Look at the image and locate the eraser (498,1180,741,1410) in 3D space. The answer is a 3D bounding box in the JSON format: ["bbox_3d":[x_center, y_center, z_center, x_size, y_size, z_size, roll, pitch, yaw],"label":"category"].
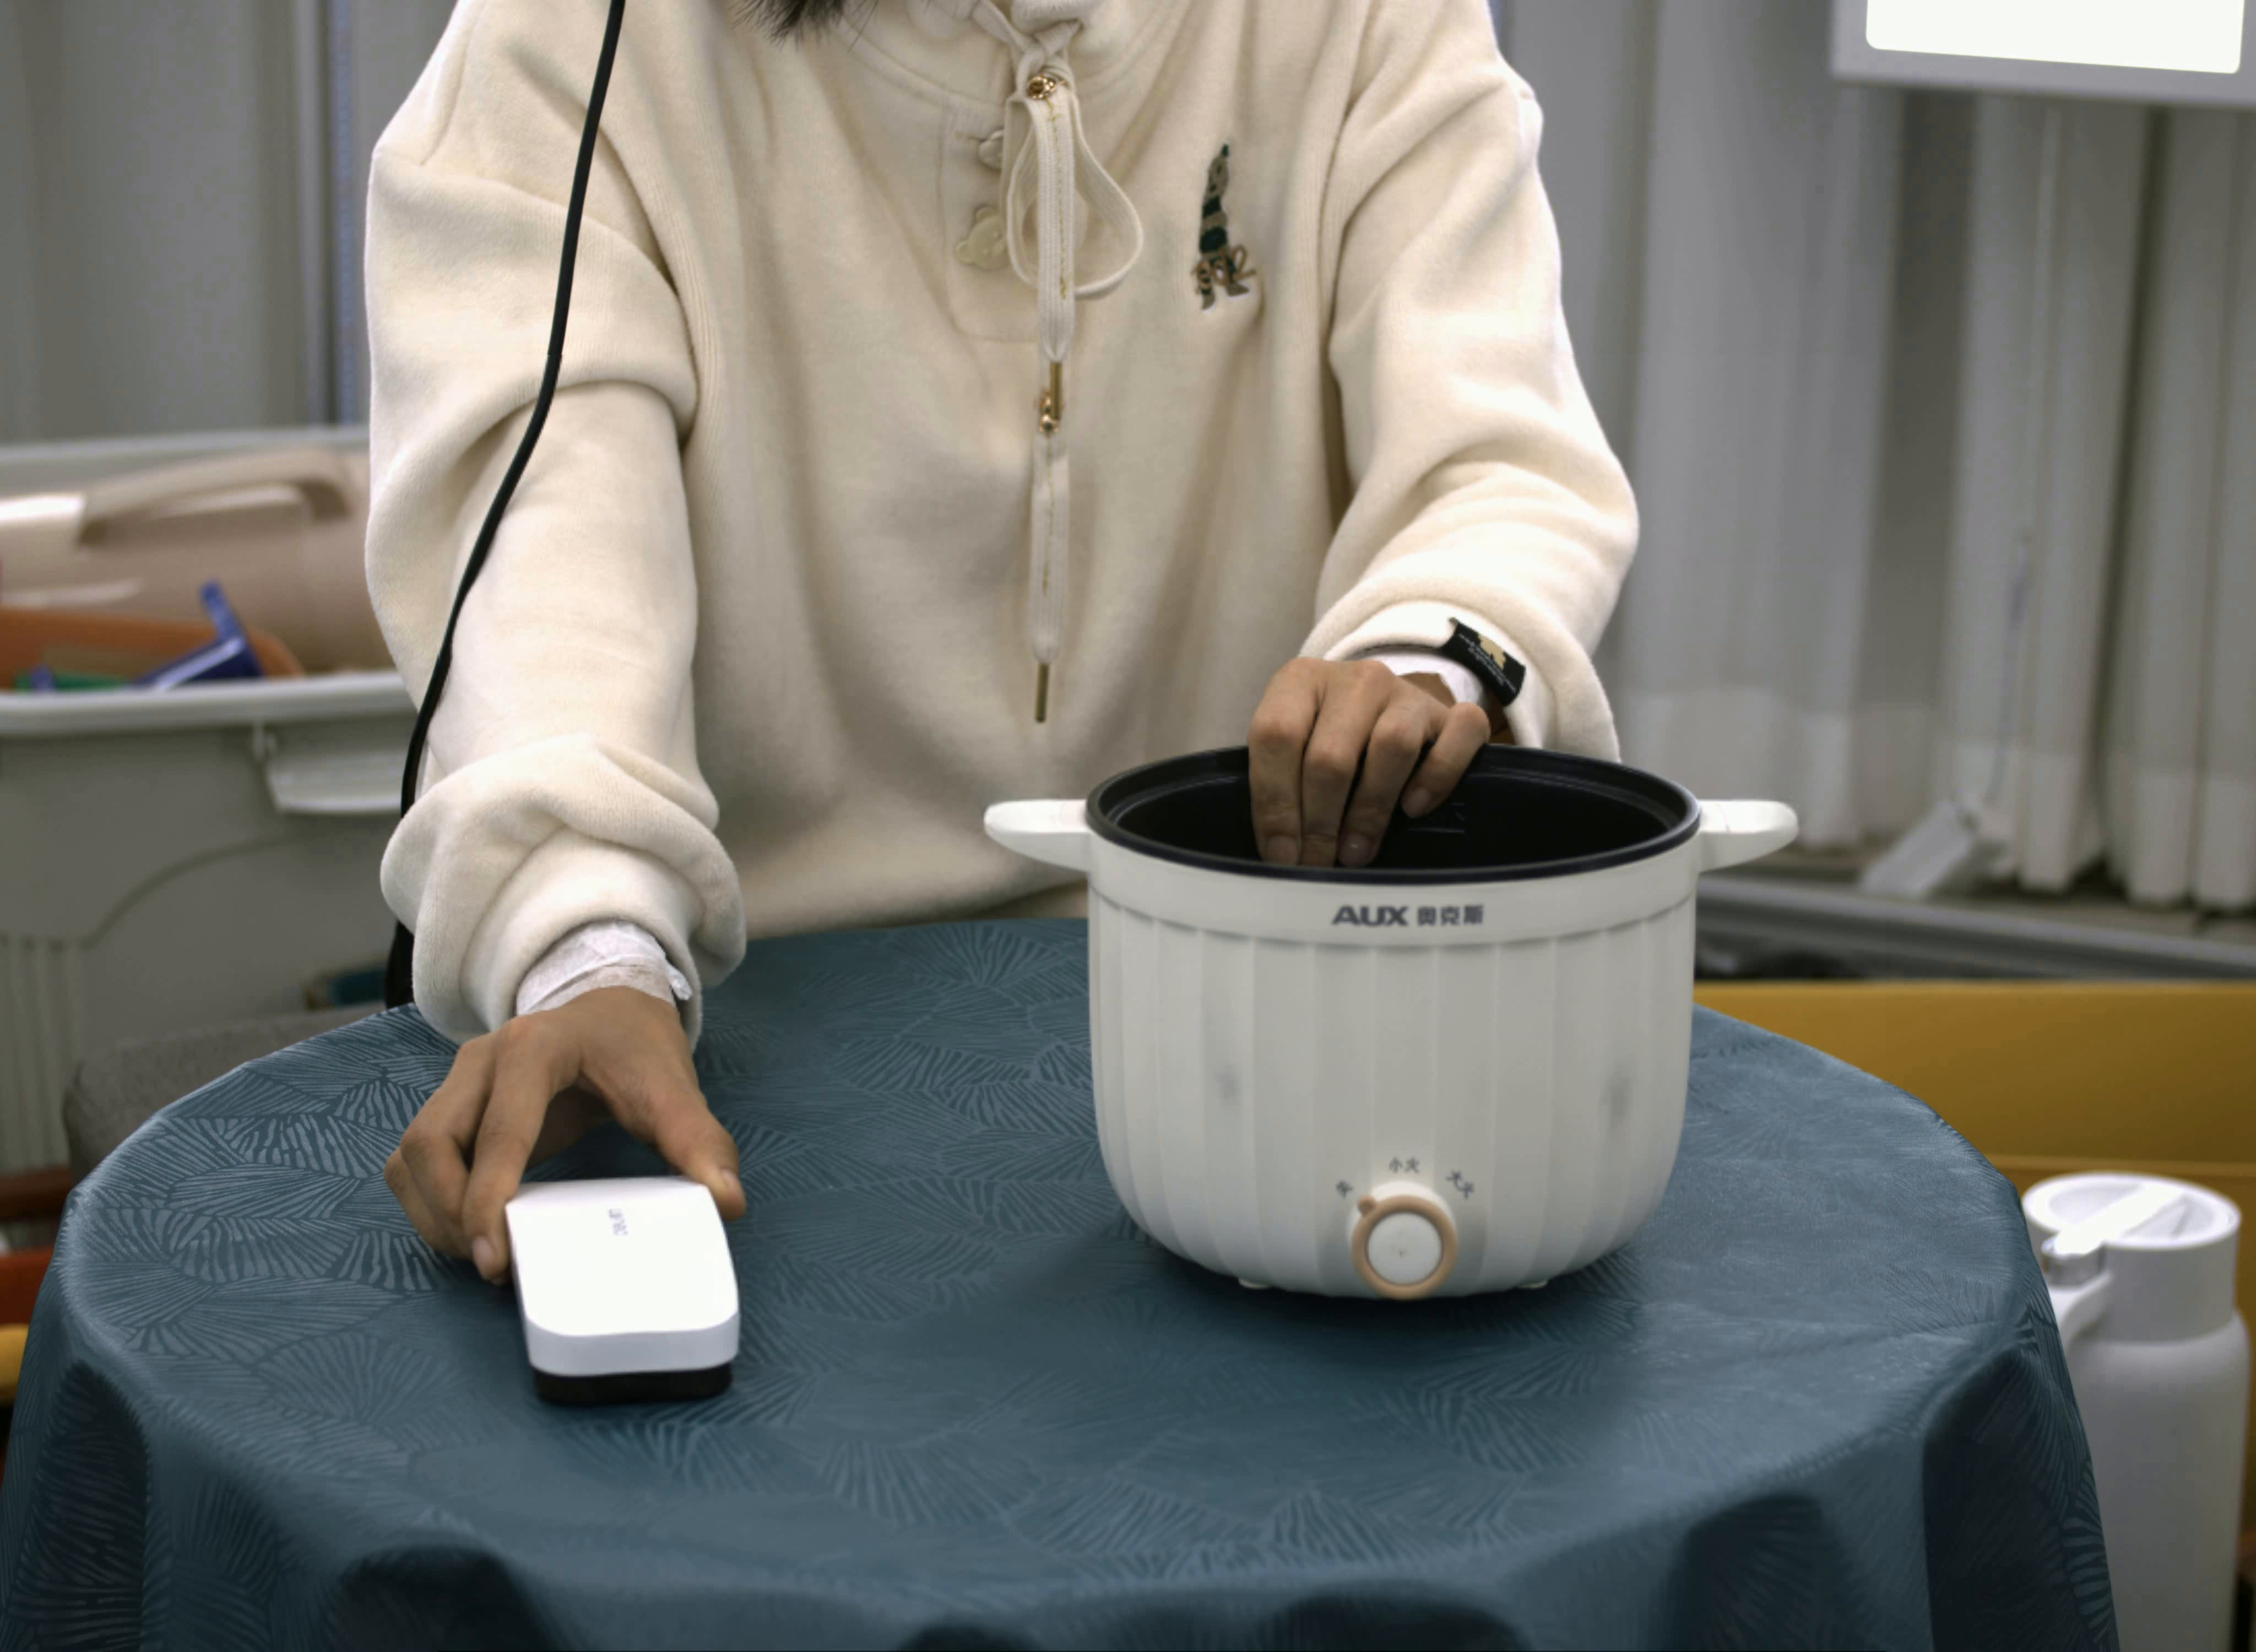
[{"bbox_3d":[-0.145,0.129,1.500,0.063,0.035,0.130,0,16,-10],"label":"eraser"}]

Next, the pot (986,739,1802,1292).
[{"bbox_3d":[0.079,0.057,1.550,0.240,0.143,0.190,-1,9,-1],"label":"pot"}]
